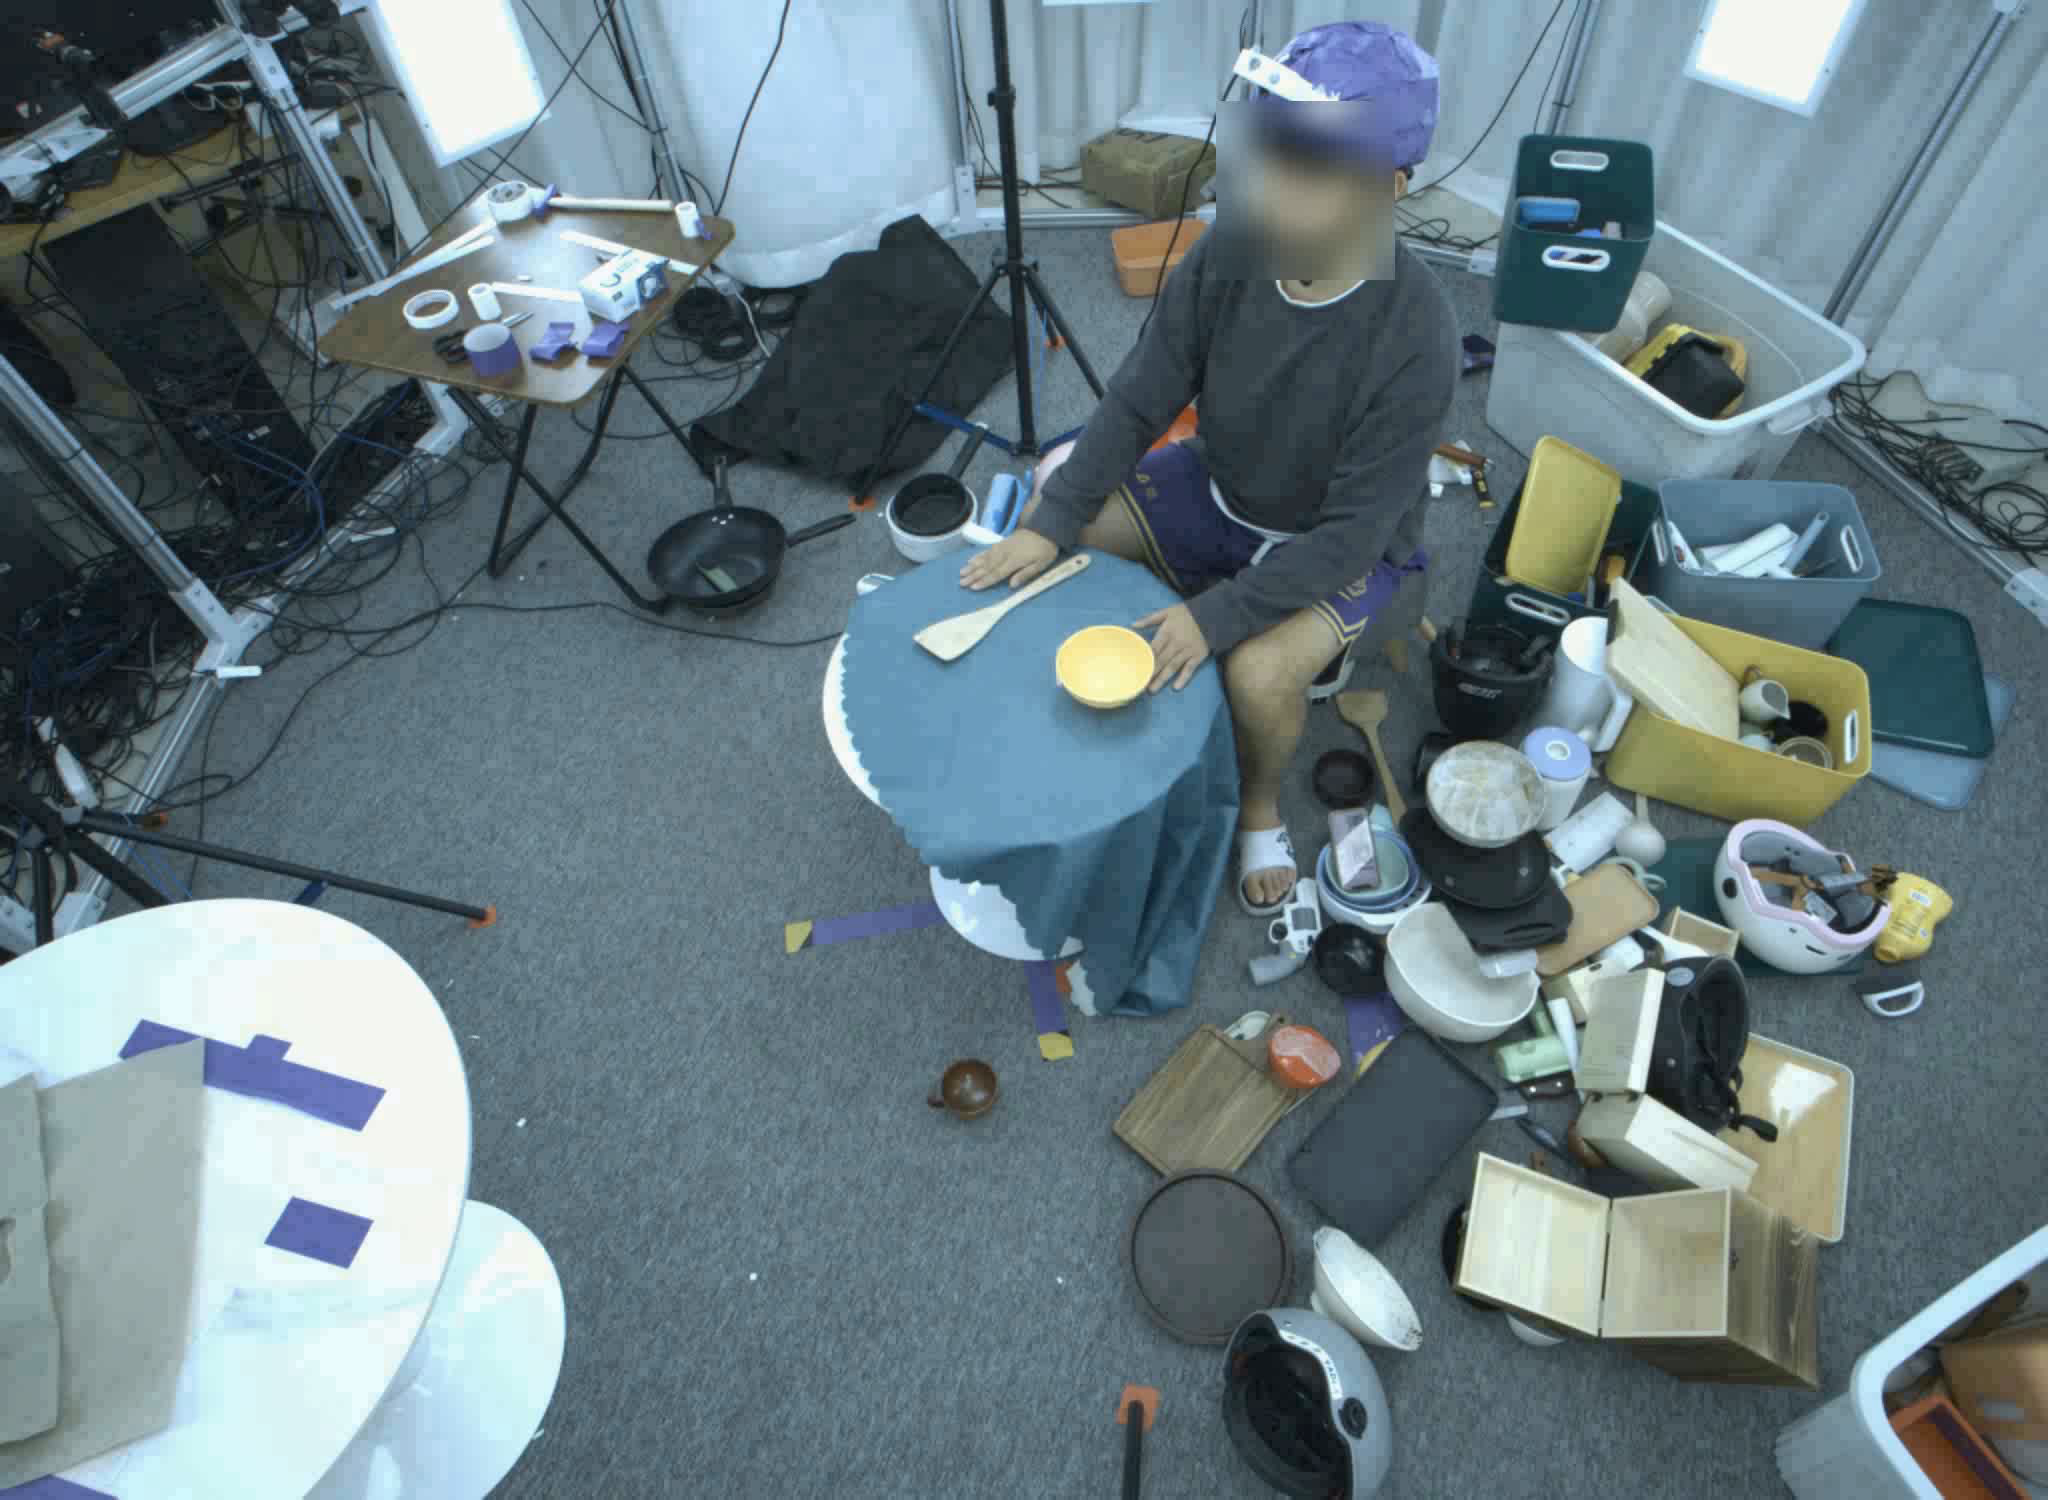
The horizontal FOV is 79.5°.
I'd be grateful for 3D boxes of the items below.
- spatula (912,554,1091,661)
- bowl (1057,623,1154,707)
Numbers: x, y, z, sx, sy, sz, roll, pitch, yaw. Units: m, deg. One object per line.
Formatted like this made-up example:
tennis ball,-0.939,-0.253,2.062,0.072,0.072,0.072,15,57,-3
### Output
spatula,-0.024,-0.234,1.947,0.330,0.017,0.078,-33,60,-20
bowl,0.121,-0.115,1.832,0.145,0.061,0.144,0,57,1
